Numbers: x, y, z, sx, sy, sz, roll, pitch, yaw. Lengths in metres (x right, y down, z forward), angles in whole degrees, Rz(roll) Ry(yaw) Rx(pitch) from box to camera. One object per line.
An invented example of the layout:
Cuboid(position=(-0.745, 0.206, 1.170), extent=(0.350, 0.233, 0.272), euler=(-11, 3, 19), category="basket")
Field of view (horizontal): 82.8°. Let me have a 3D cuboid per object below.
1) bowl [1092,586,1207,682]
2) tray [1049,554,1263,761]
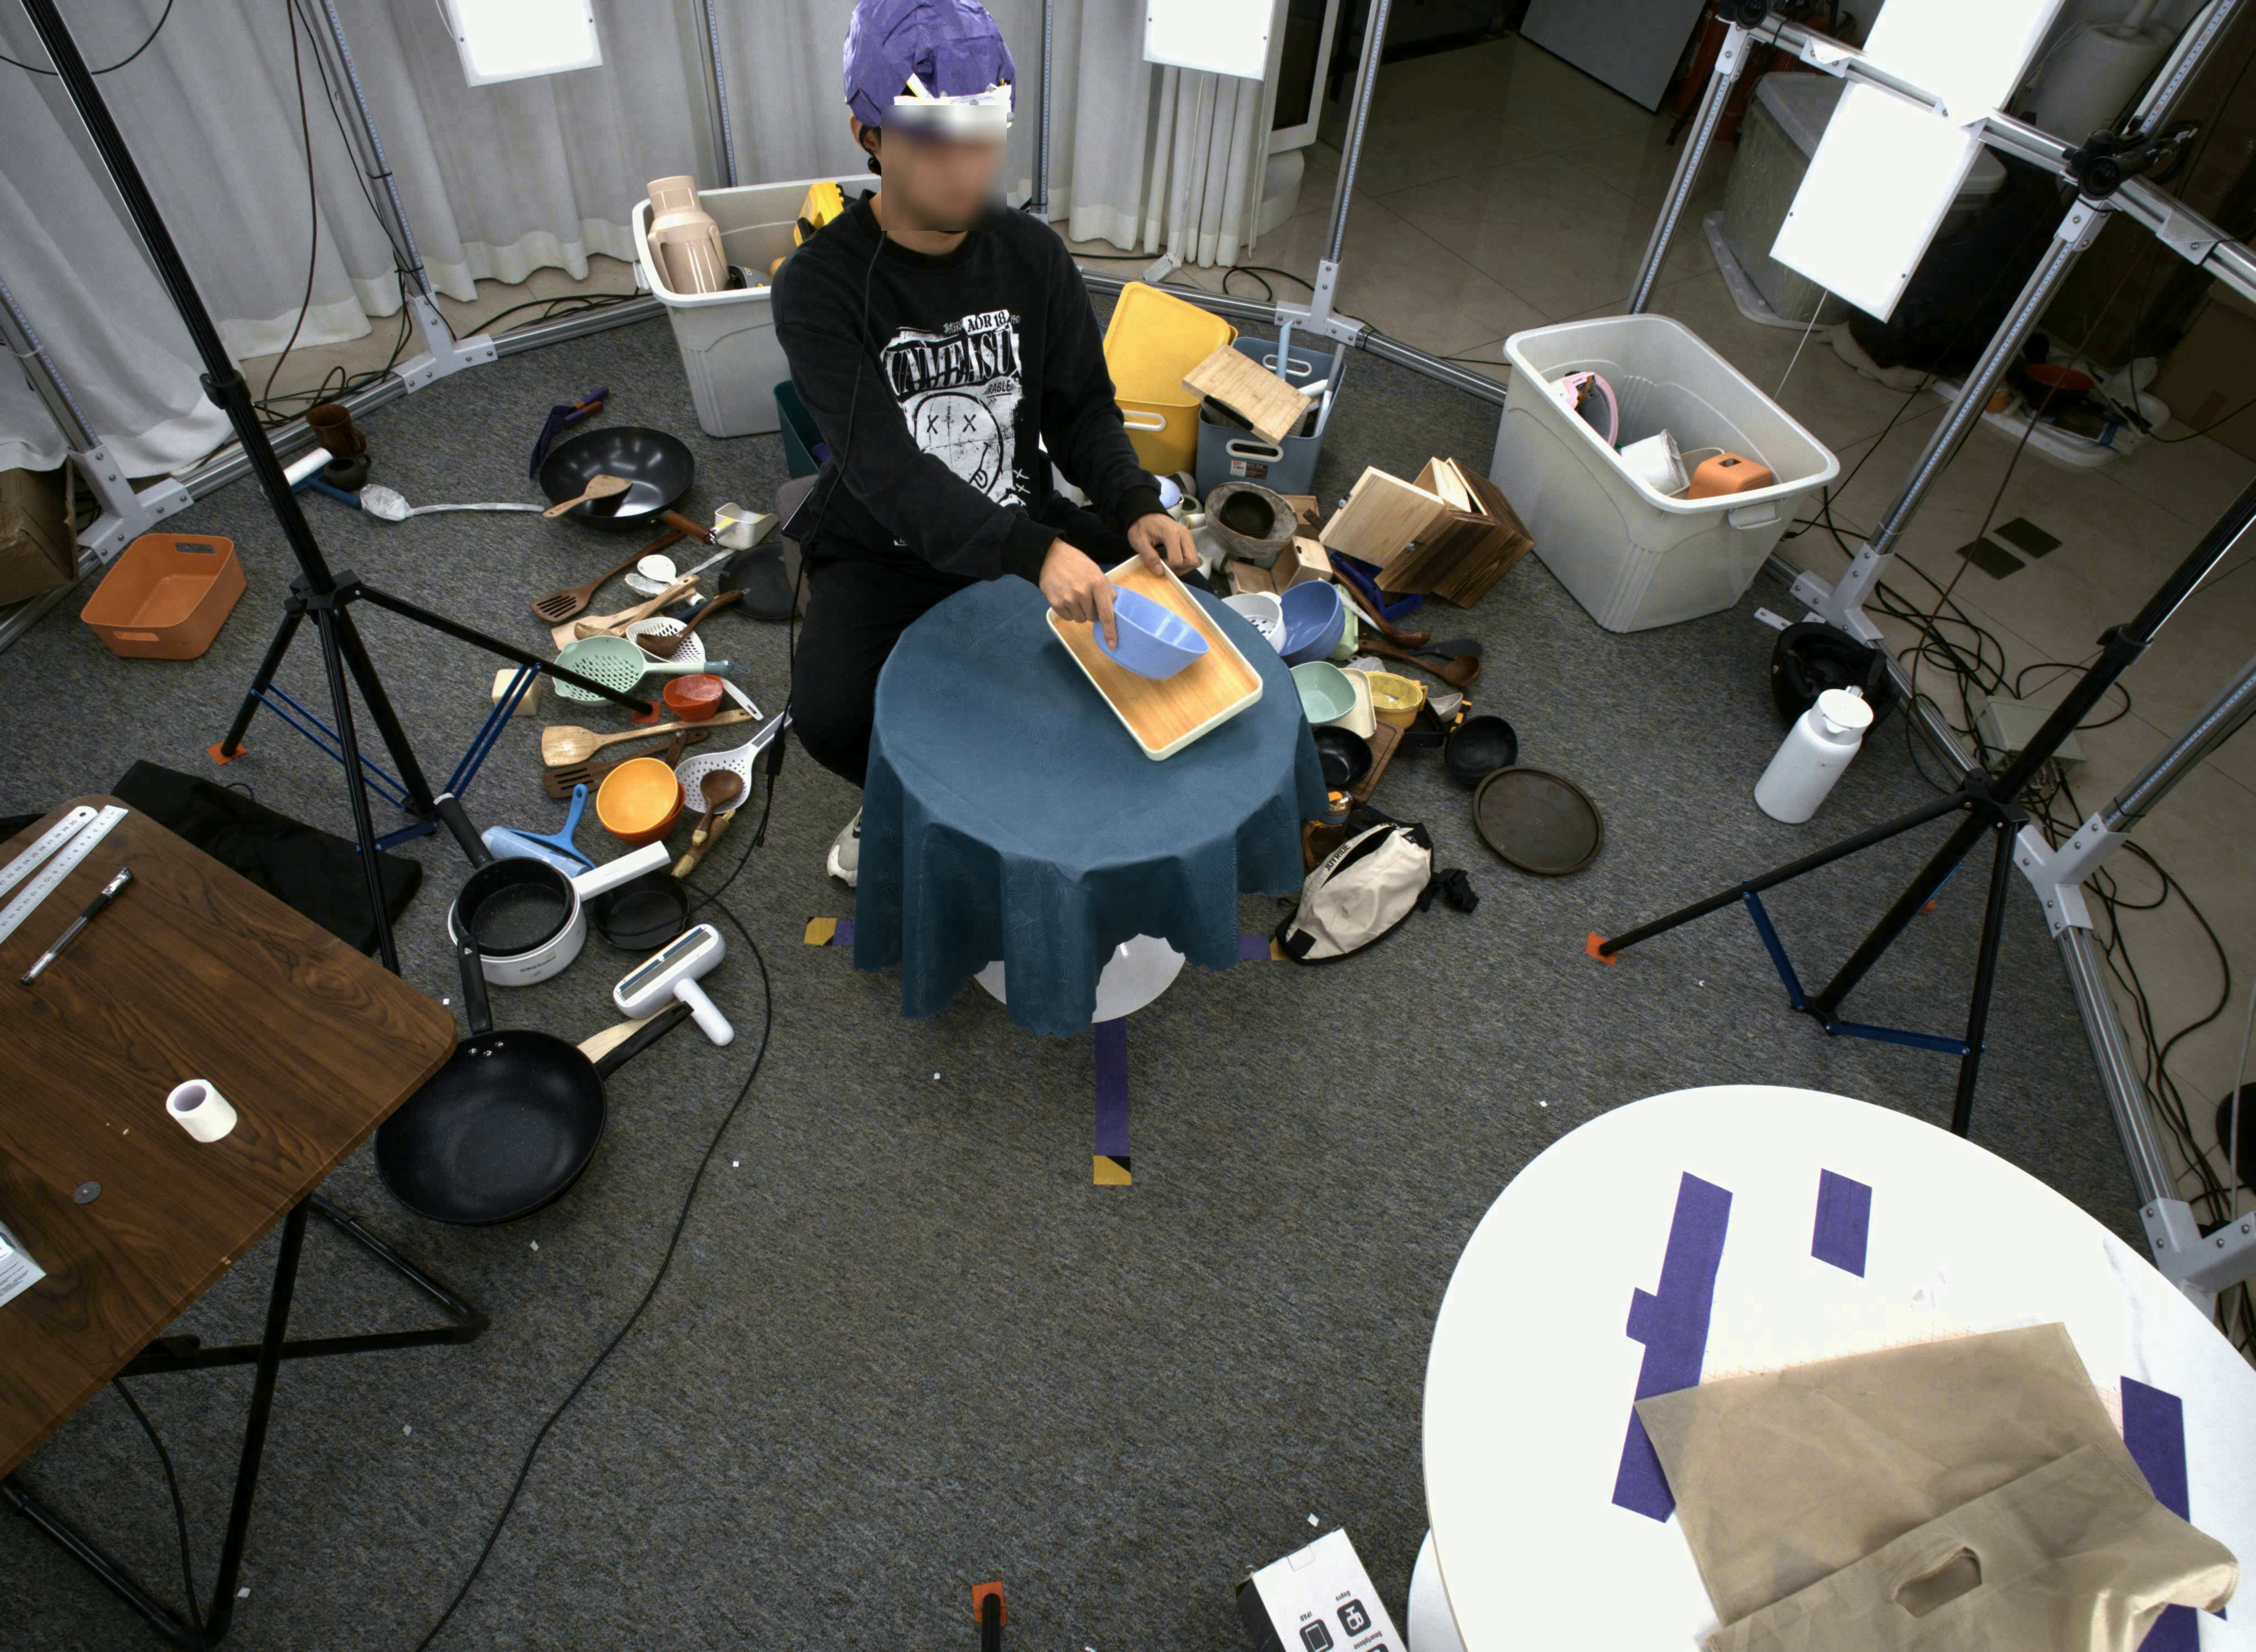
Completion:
Cuboid(position=(0.018, -0.257, 1.771), extent=(0.175, 0.069, 0.179), euler=(28, 20, -11), category="bowl")
Cuboid(position=(0.036, -0.245, 1.833), extent=(0.192, 0.027, 0.306), euler=(-32, 62, -7), category="tray")
